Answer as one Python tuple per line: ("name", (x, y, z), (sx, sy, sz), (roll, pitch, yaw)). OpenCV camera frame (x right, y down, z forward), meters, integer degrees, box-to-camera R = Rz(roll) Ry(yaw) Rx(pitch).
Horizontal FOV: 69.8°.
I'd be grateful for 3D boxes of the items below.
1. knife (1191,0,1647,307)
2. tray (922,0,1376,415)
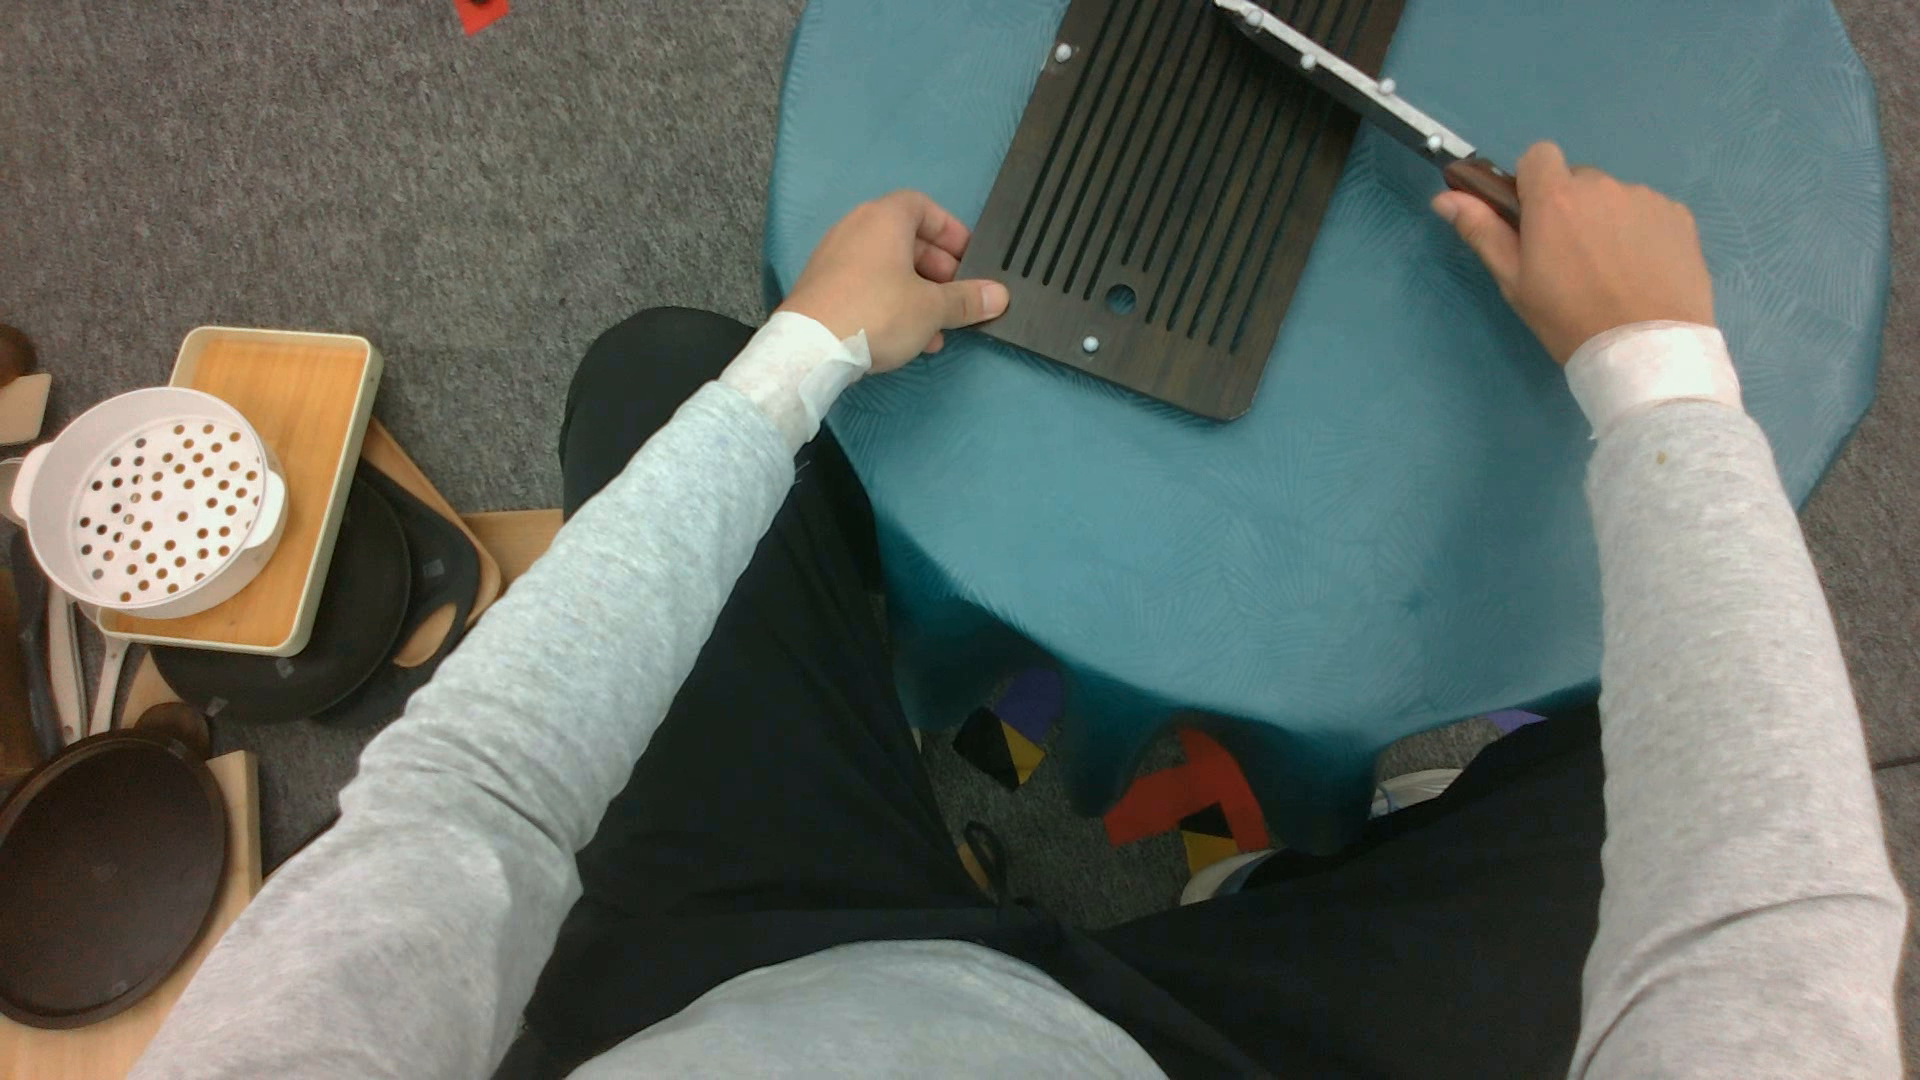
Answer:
("knife", (0.229, -0.211, 0.714), (0.289, 0.020, 0.050), (40, 43, 13))
("tray", (0.111, -0.230, 0.747), (0.170, 0.018, 0.306), (21, 80, 5))
